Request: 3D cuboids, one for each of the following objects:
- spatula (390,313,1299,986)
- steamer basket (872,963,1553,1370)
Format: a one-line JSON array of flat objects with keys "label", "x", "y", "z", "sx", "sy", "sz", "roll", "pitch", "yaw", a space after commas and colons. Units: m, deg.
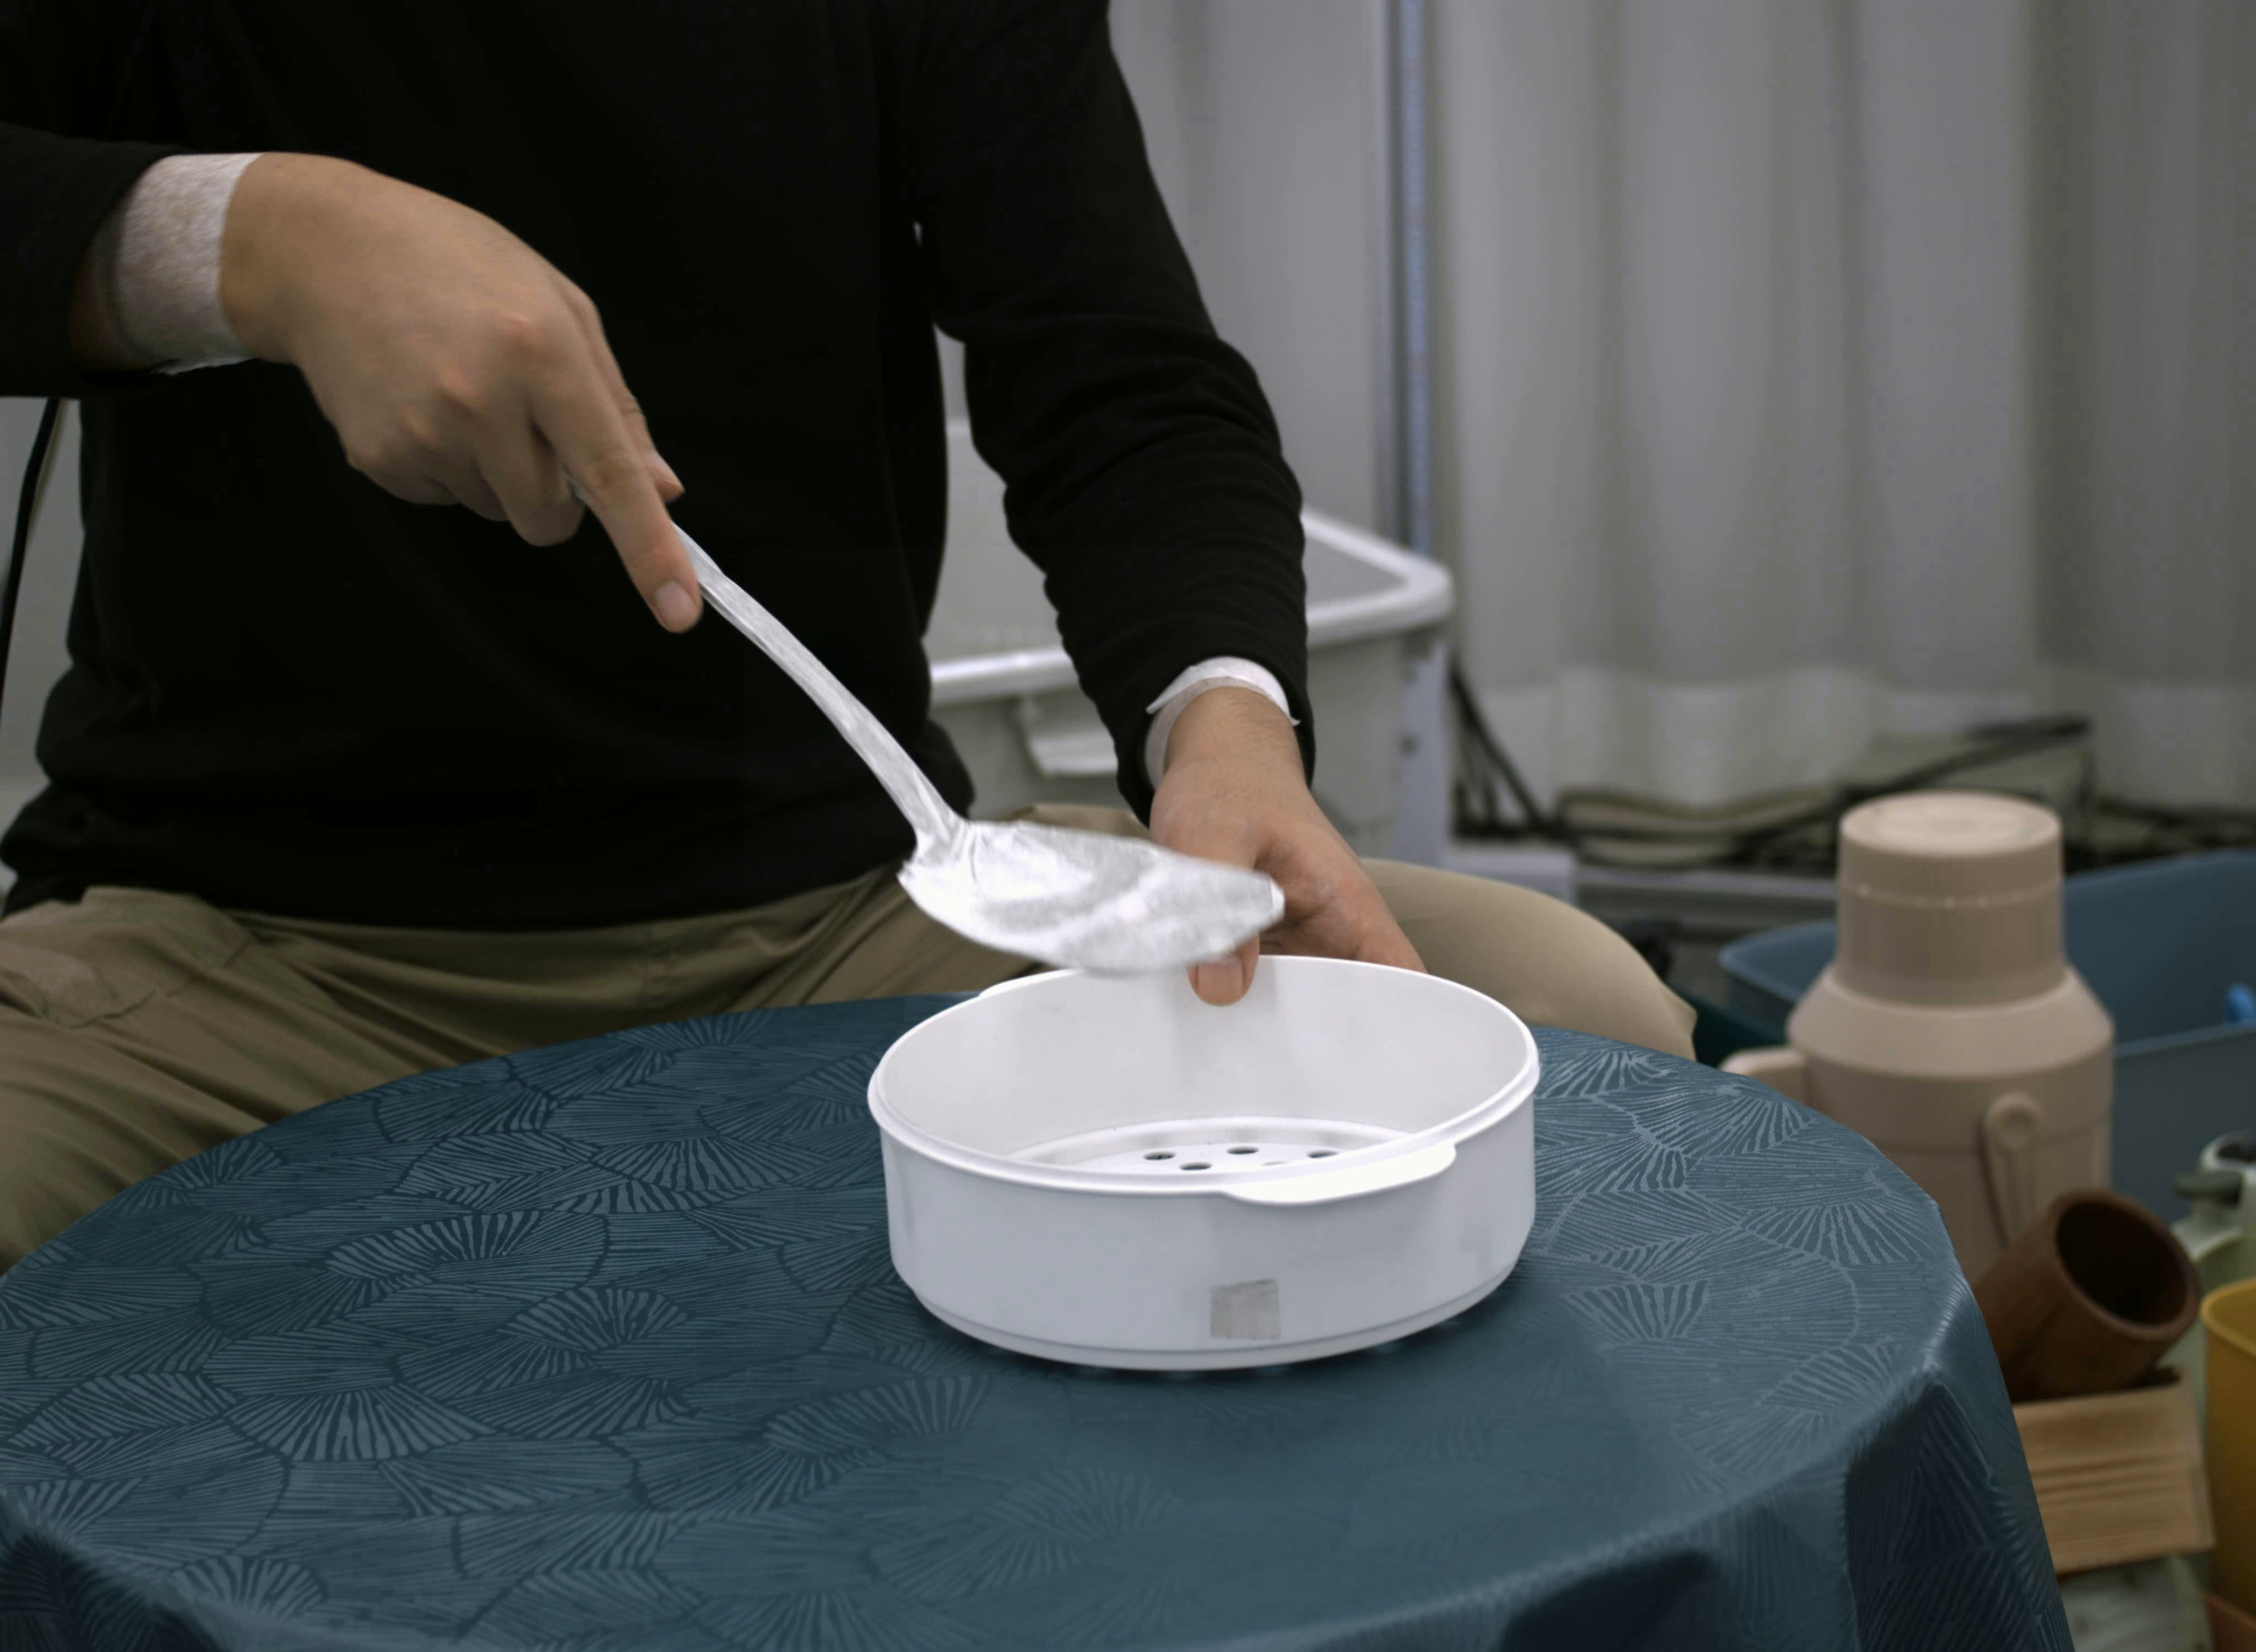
[{"label": "spatula", "x": -0.102, "y": -0.060, "z": 1.626, "sx": 0.368, "sy": 0.044, "sz": 0.098, "roll": 42, "pitch": 38, "yaw": 23}, {"label": "steamer basket", "x": 0.026, "y": 0.100, "z": 1.621, "sx": 0.201, "sy": 0.069, "sz": 0.232, "roll": -8, "pitch": 16, "yaw": -21}]
